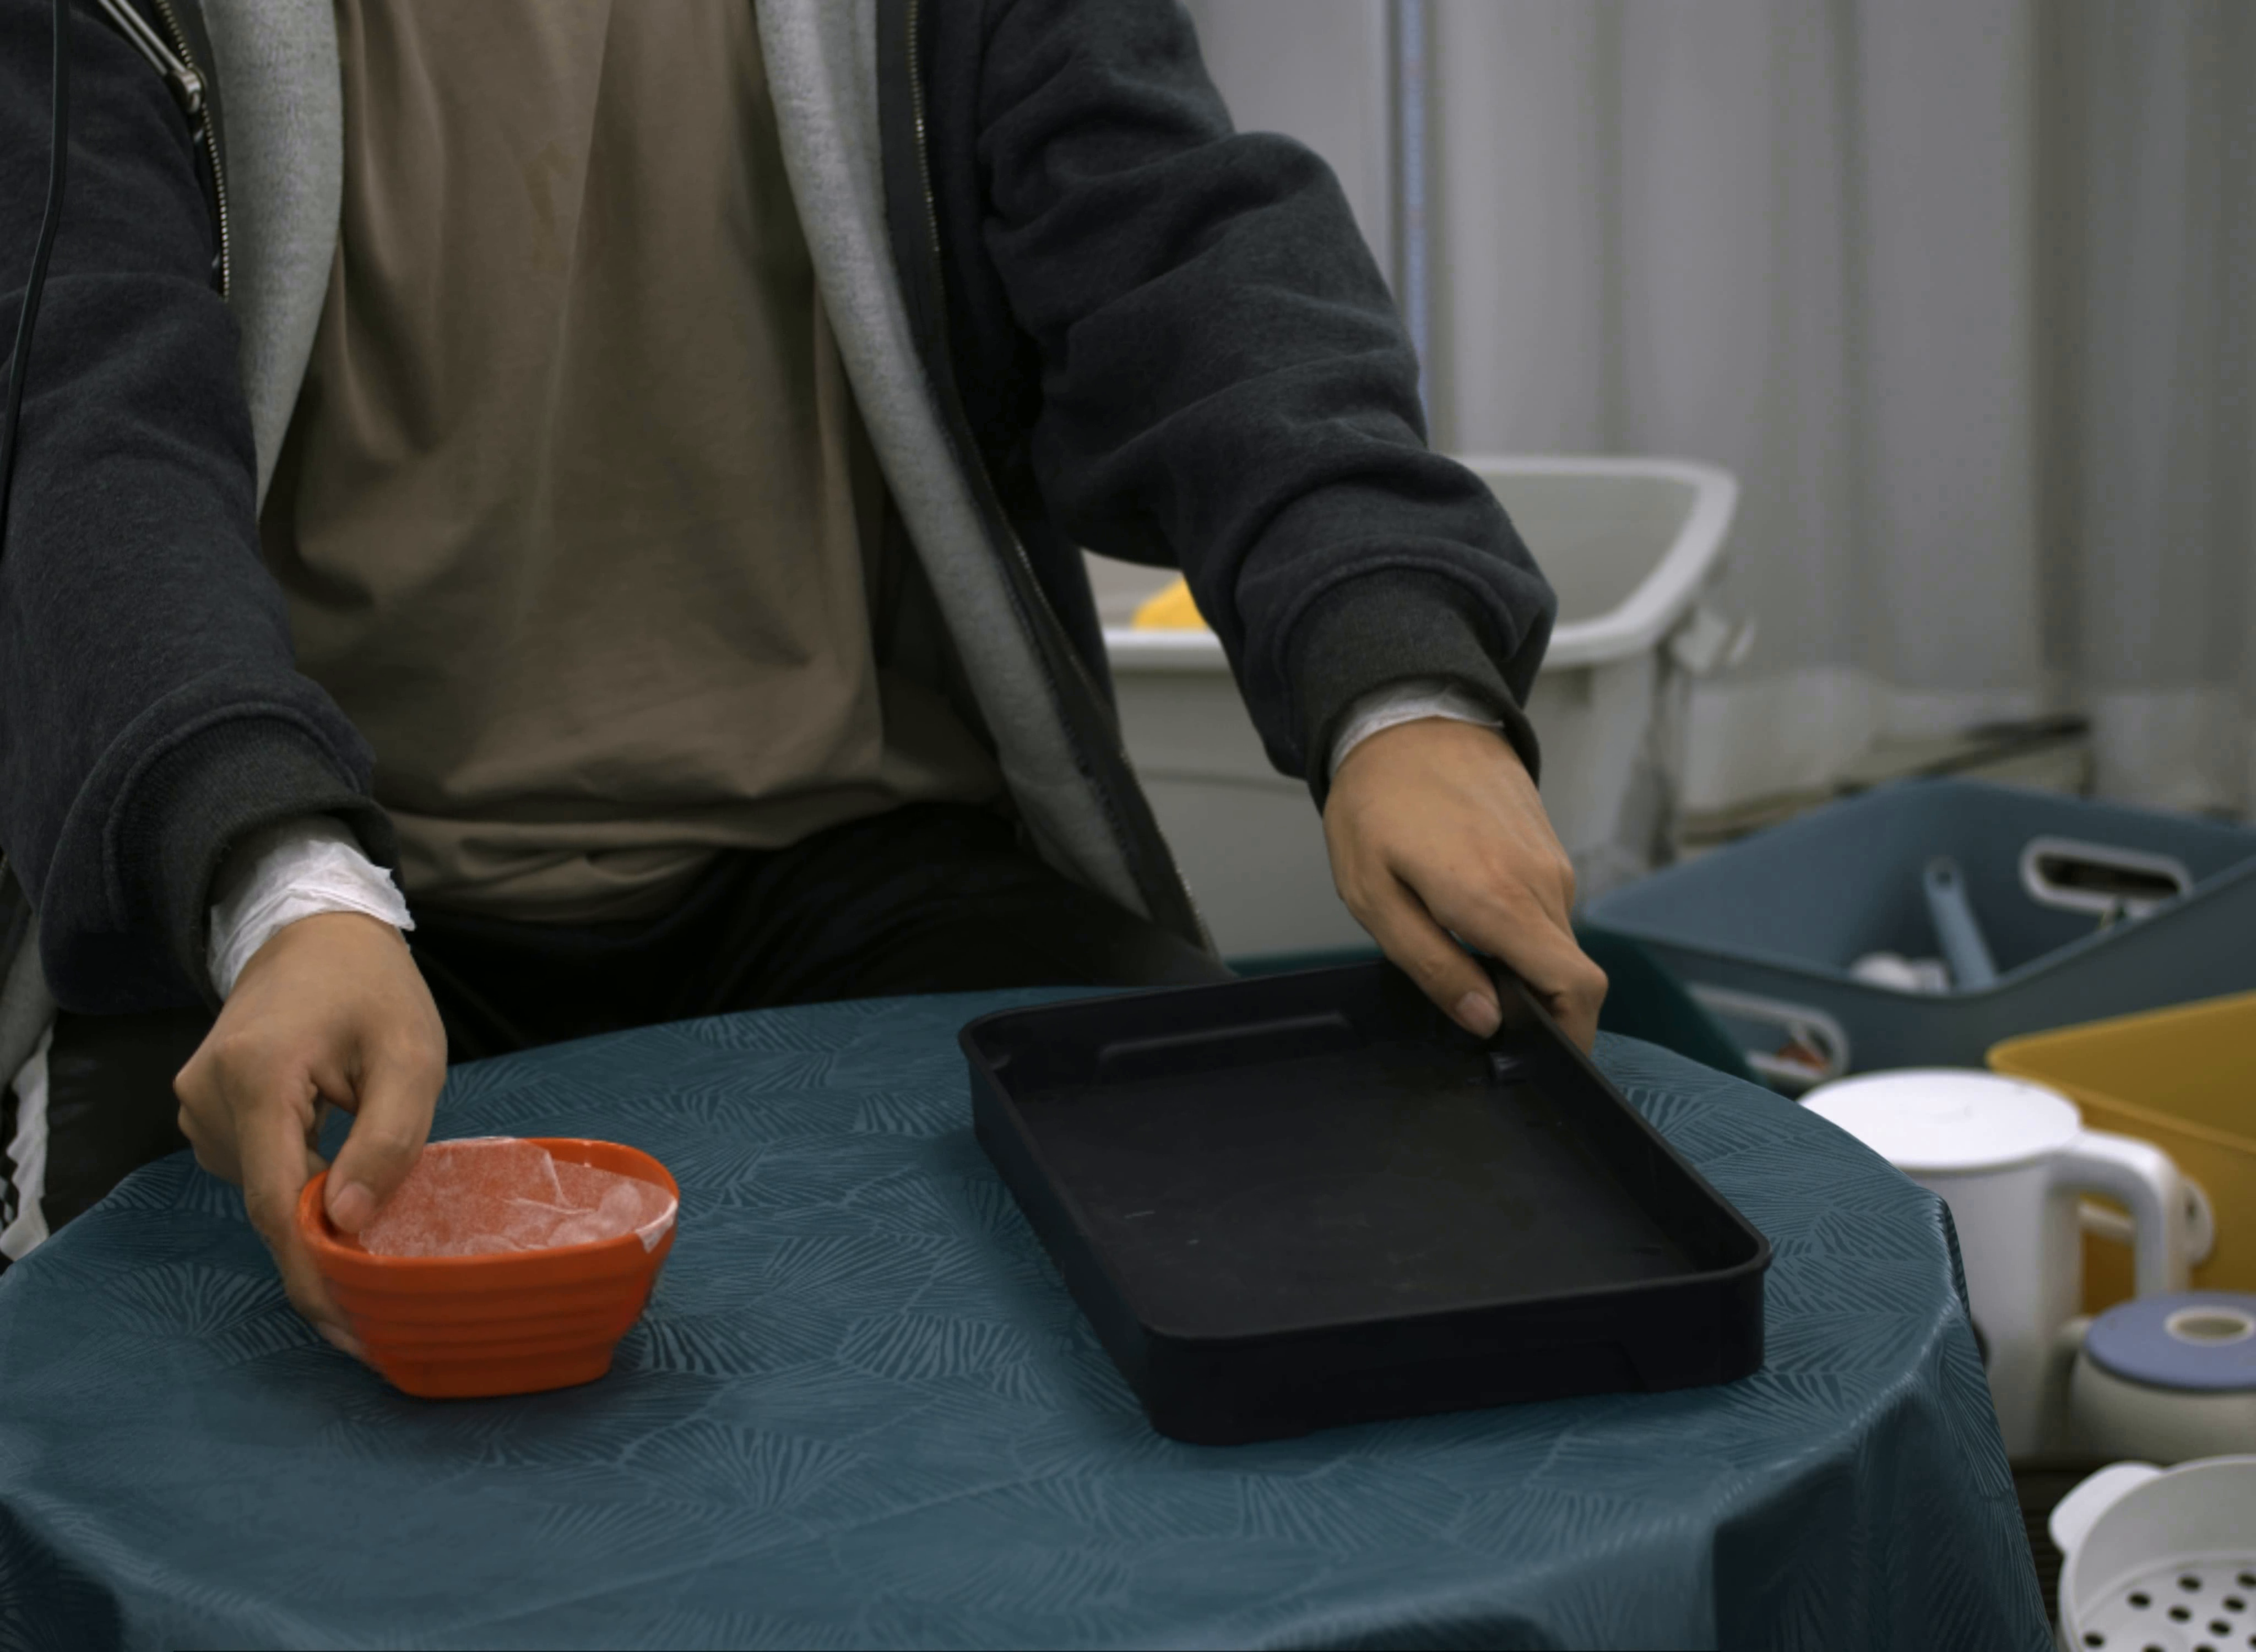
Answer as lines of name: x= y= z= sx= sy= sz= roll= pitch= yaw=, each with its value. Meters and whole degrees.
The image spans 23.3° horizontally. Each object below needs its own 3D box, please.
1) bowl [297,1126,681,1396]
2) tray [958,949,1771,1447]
bowl: x=-0.184 y=0.129 z=1.590 sx=0.118 sy=0.051 sz=0.120 roll=-2 pitch=16 yaw=0
tray: x=0.064 y=0.107 z=1.658 sx=0.183 sy=0.037 sz=0.320 roll=-6 pitch=16 yaw=-10
